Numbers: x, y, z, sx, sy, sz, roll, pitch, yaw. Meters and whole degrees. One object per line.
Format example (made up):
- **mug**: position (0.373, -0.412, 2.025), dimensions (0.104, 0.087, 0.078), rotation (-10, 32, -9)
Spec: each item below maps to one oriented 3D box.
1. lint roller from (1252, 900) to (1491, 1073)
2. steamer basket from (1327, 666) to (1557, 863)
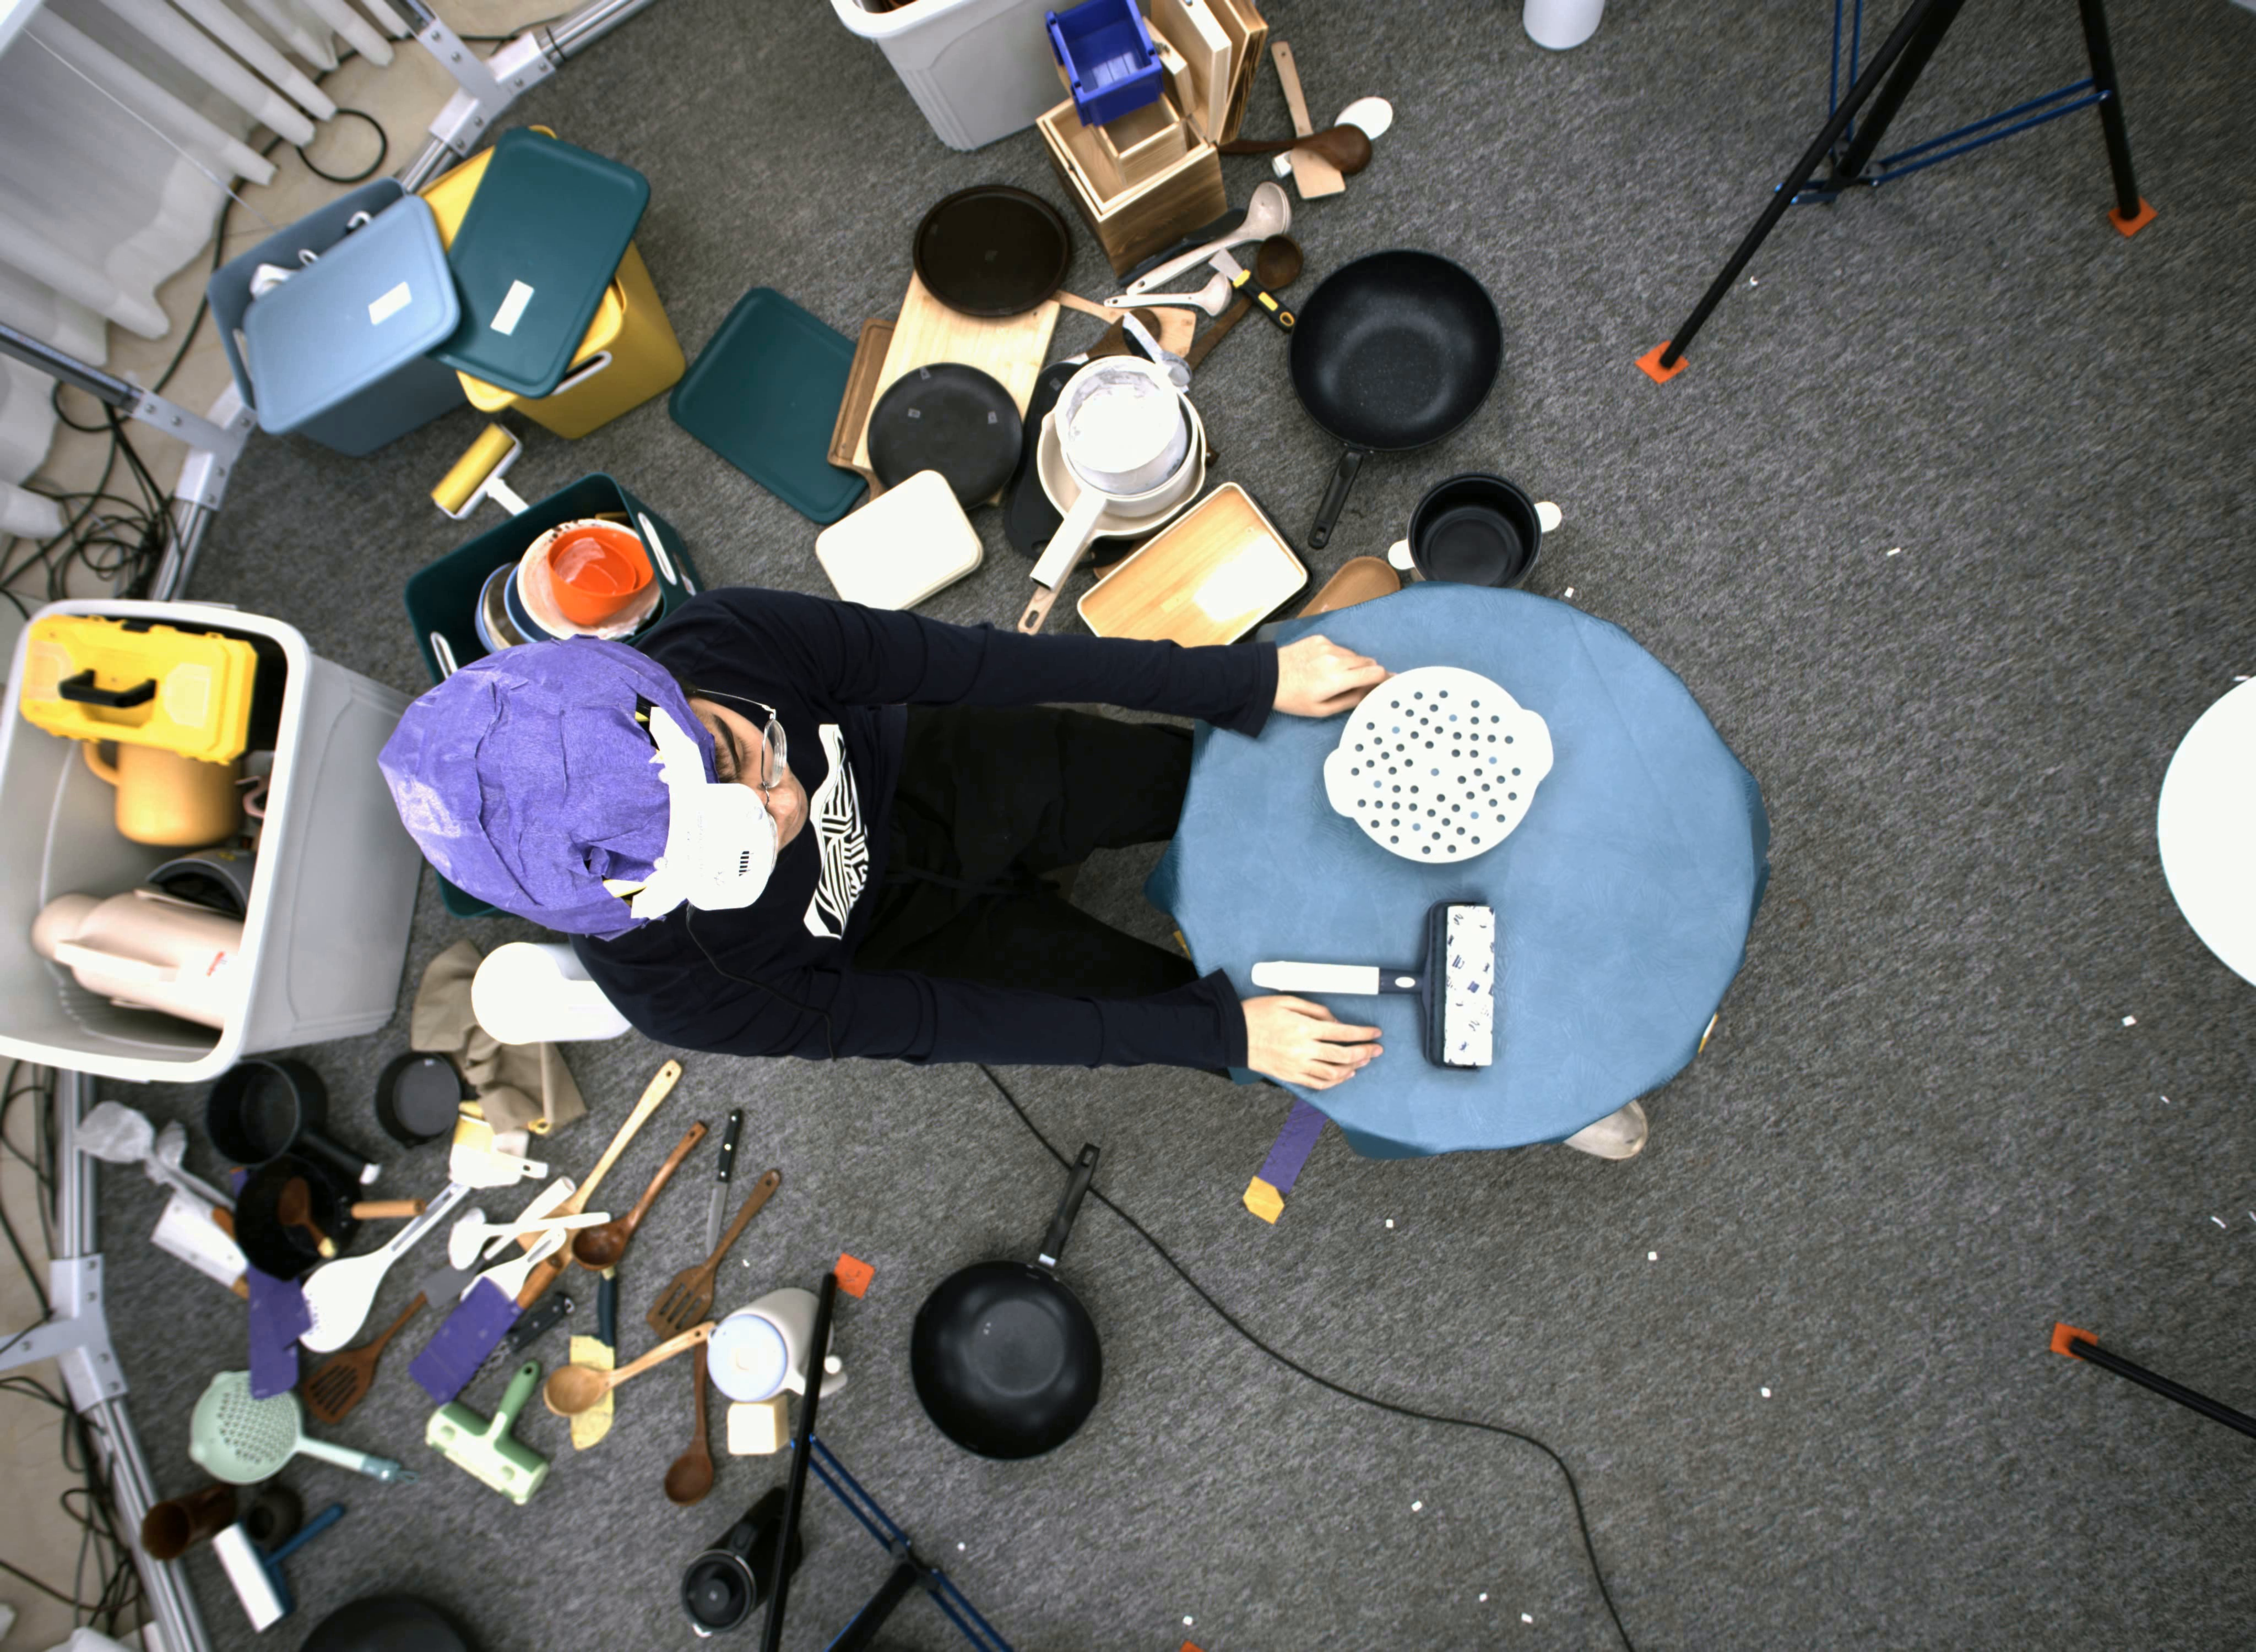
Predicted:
- **lint roller**: position (0.251, 0.162, 1.439), dimensions (0.248, 0.050, 0.175), rotation (0, 87, 13)
- **steamer basket**: position (0.324, -0.063, 1.425), dimensions (0.232, 0.069, 0.200), rotation (-12, 84, 12)
